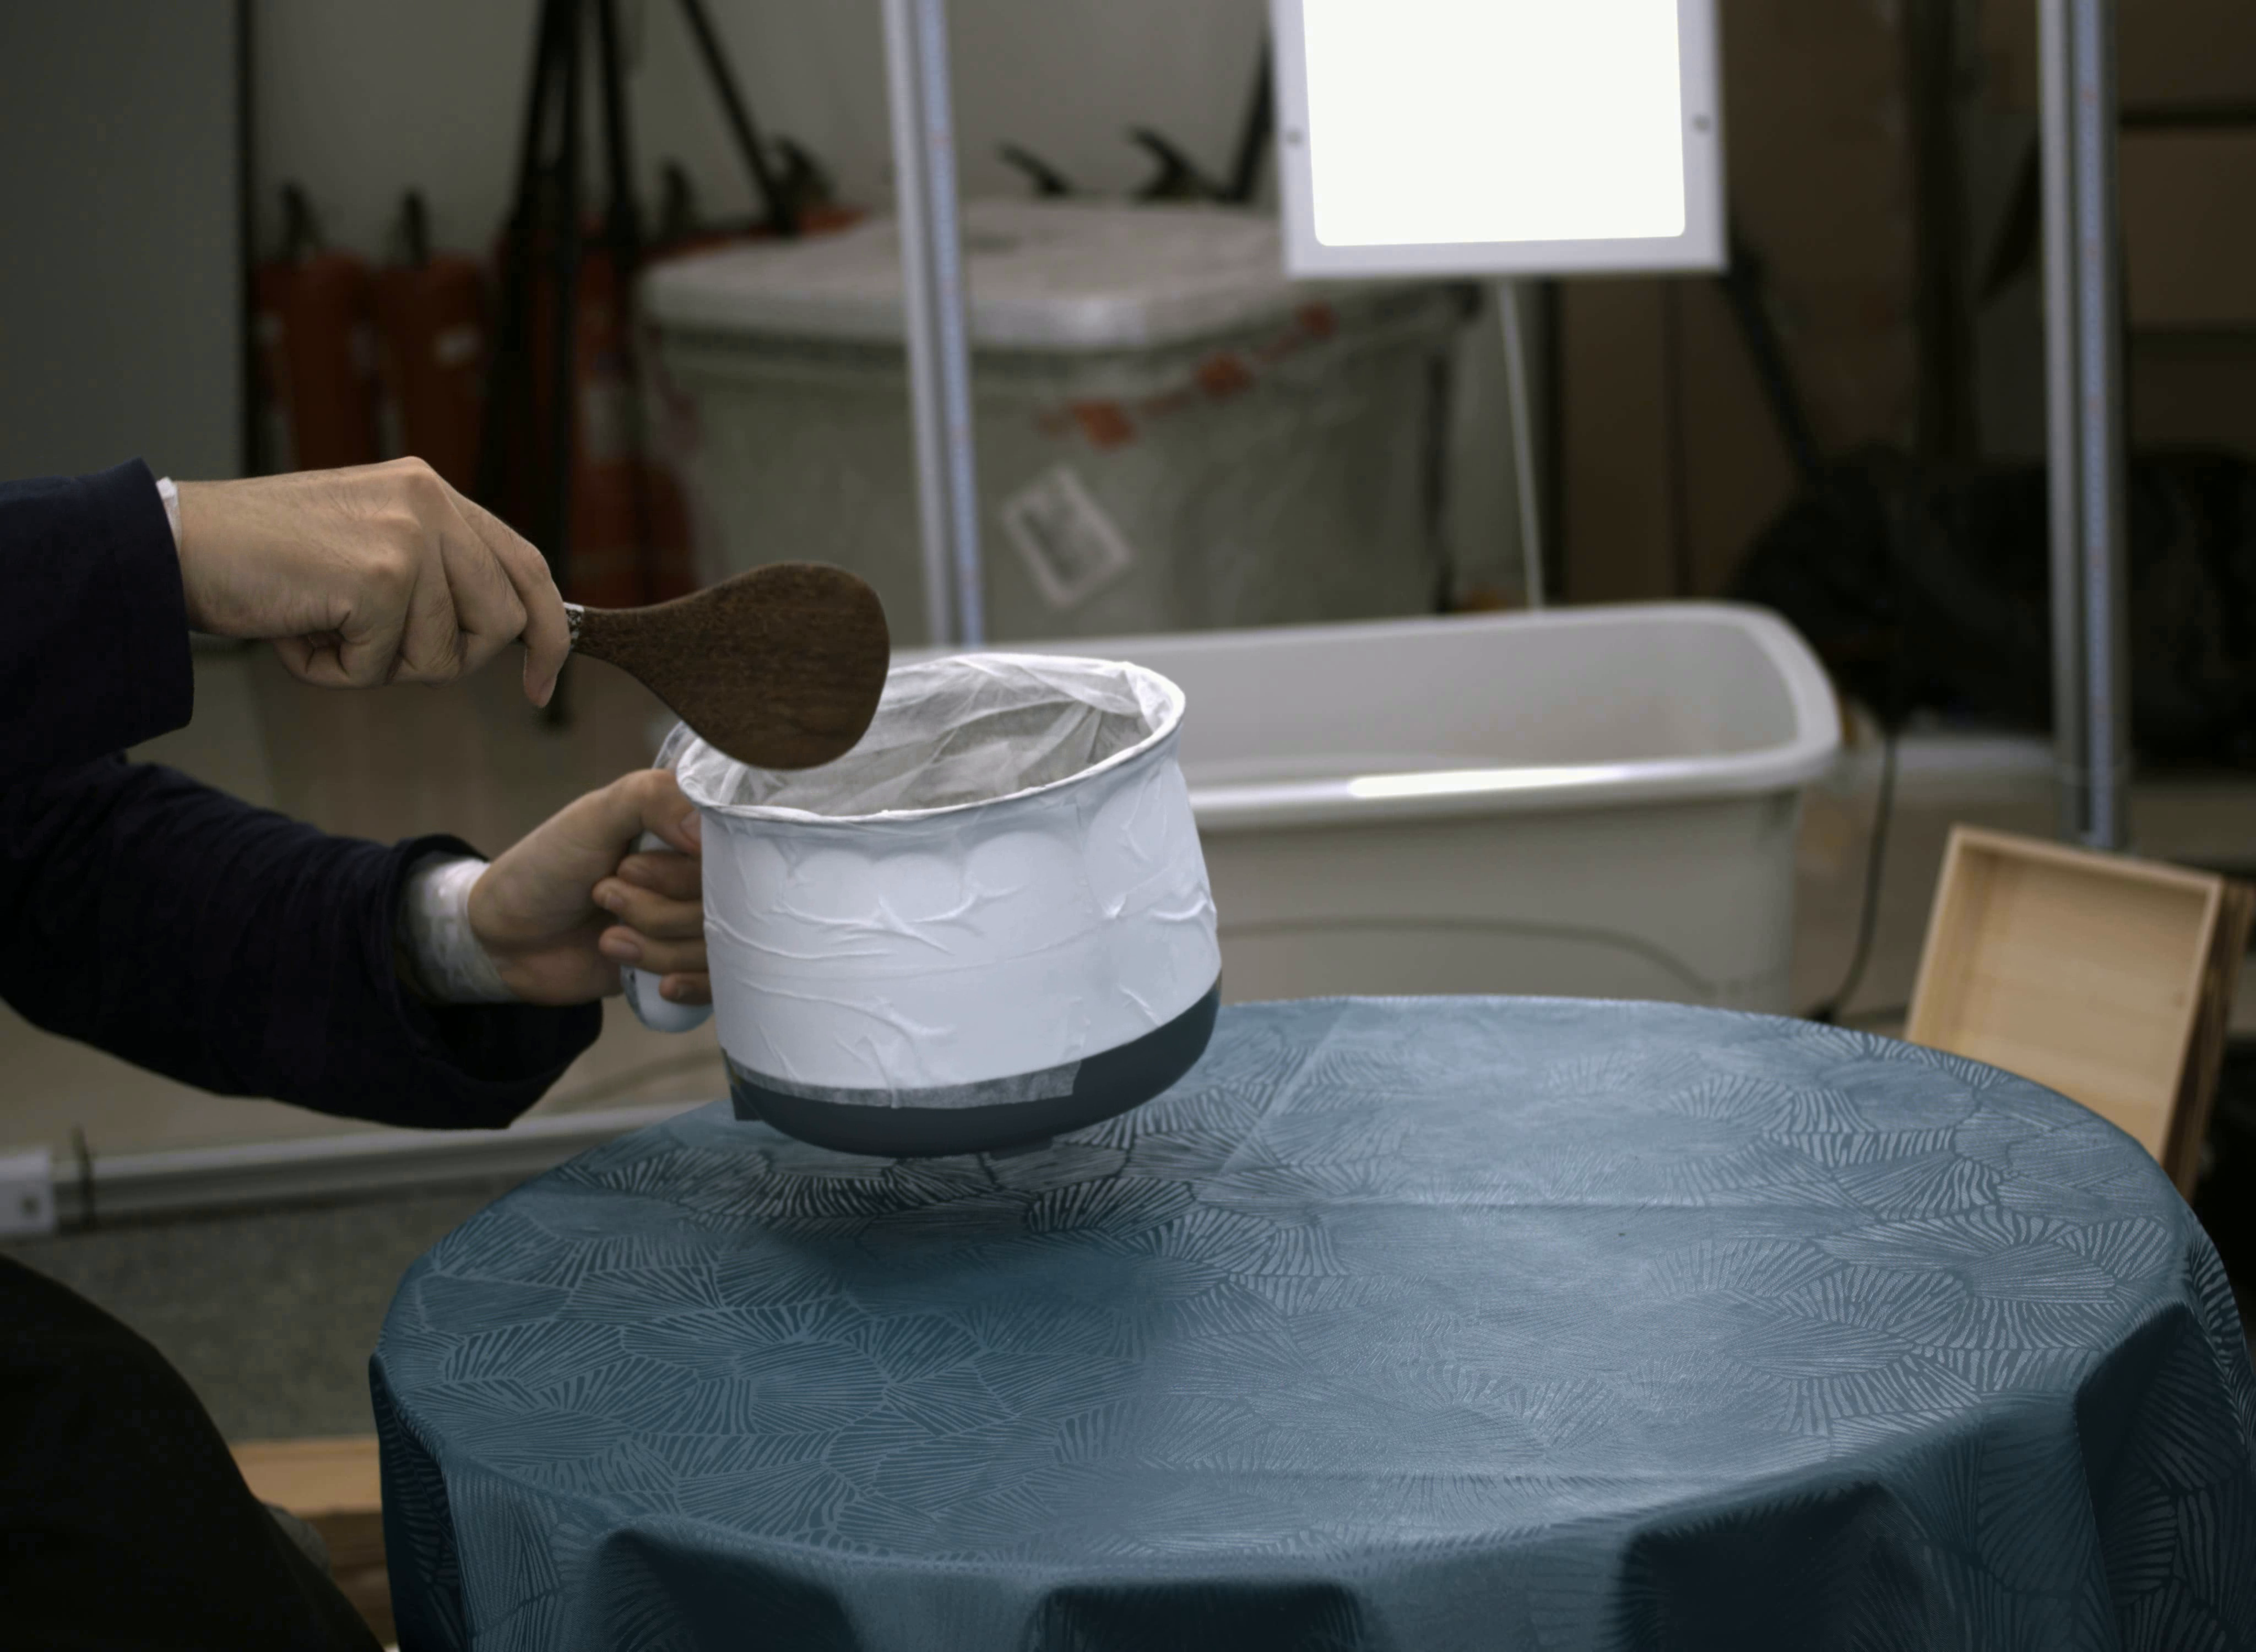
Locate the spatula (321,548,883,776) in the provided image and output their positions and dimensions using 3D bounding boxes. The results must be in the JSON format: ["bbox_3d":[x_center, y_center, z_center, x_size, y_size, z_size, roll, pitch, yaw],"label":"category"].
[{"bbox_3d":[-0.171,-0.064,1.835,0.211,0.072,0.009,11,7,-32],"label":"spatula"}]

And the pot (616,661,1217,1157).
[{"bbox_3d":[-0.083,0.026,1.921,0.238,0.137,0.174,4,19,32],"label":"pot"}]
